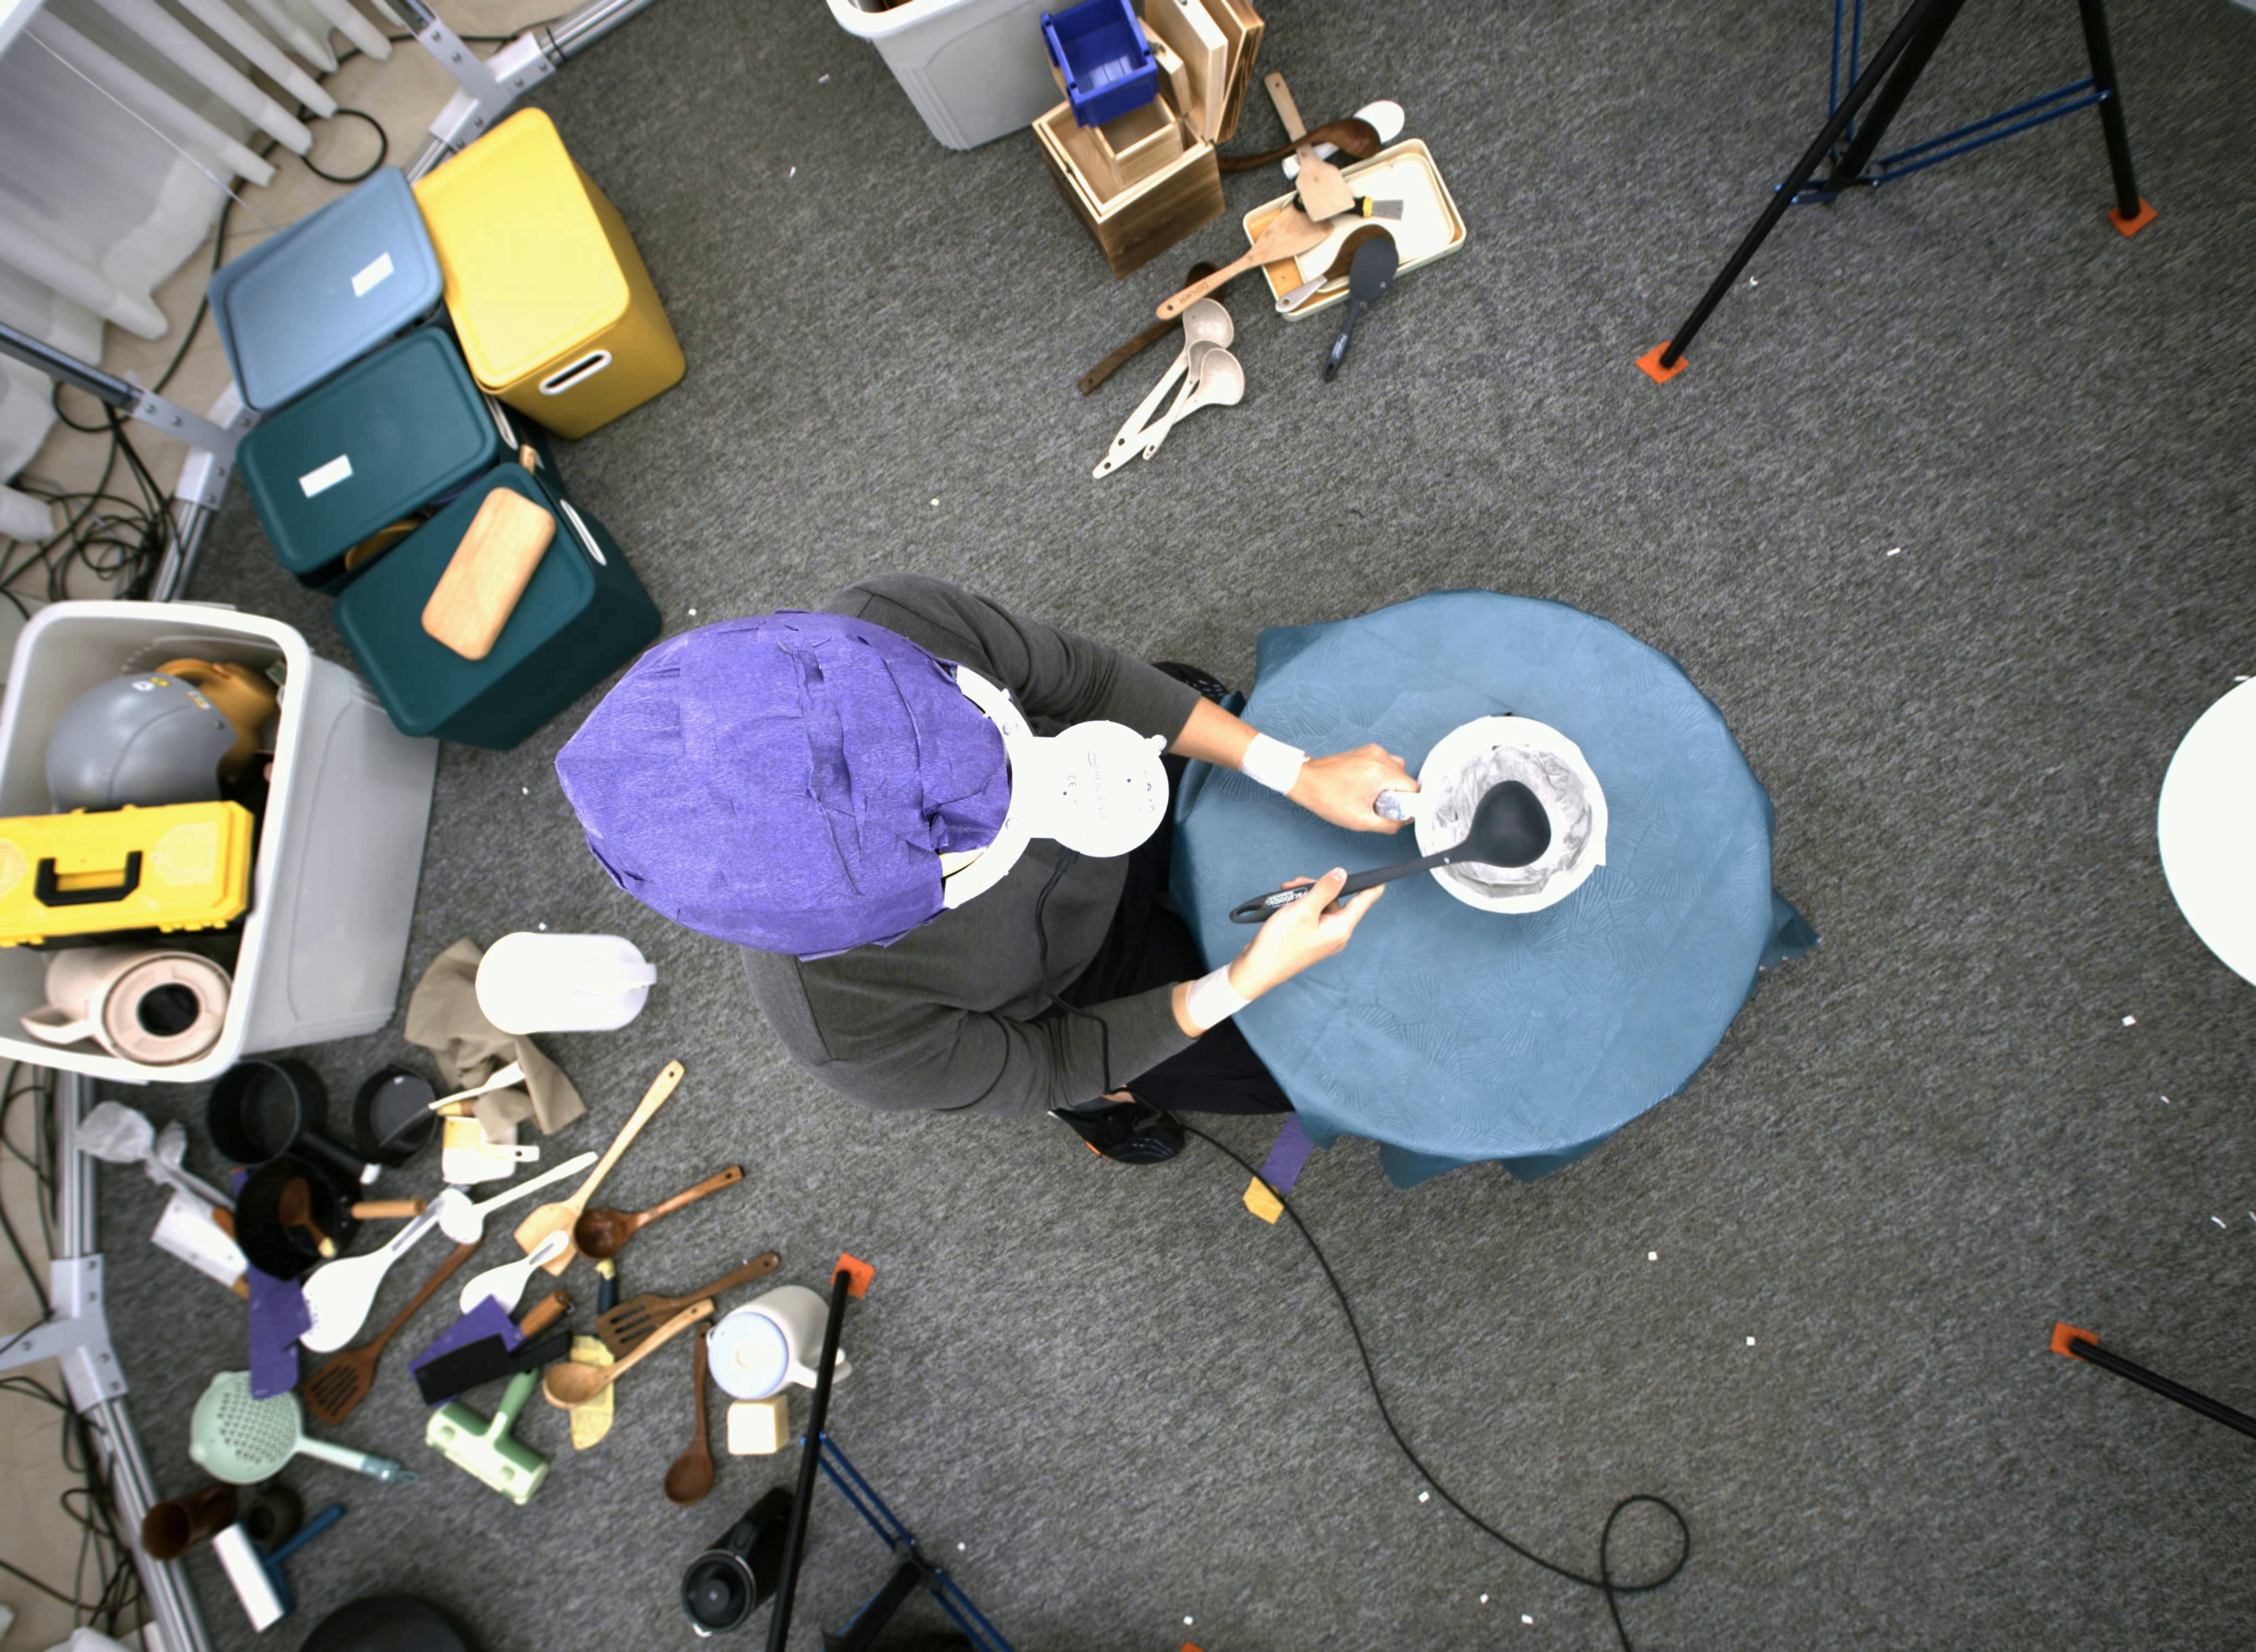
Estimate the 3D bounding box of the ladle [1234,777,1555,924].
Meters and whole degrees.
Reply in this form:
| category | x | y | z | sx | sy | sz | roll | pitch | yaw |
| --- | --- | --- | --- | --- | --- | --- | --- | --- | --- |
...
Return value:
| category | x | y | z | sx | sy | sz | roll | pitch | yaw |
| --- | --- | --- | --- | --- | --- | --- | --- | --- | --- |
| ladle | 0.245 | 0.031 | 1.265 | 0.312 | 0.065 | 0.084 | -15 | 61 | -14 |

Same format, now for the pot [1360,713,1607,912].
| category | x | y | z | sx | sy | sz | roll | pitch | yaw |
| --- | --- | --- | --- | --- | --- | --- | --- | --- | --- |
| pot | 0.346 | -0.022 | 1.365 | 0.234 | 0.134 | 0.181 | 6 | 105 | 10 |
